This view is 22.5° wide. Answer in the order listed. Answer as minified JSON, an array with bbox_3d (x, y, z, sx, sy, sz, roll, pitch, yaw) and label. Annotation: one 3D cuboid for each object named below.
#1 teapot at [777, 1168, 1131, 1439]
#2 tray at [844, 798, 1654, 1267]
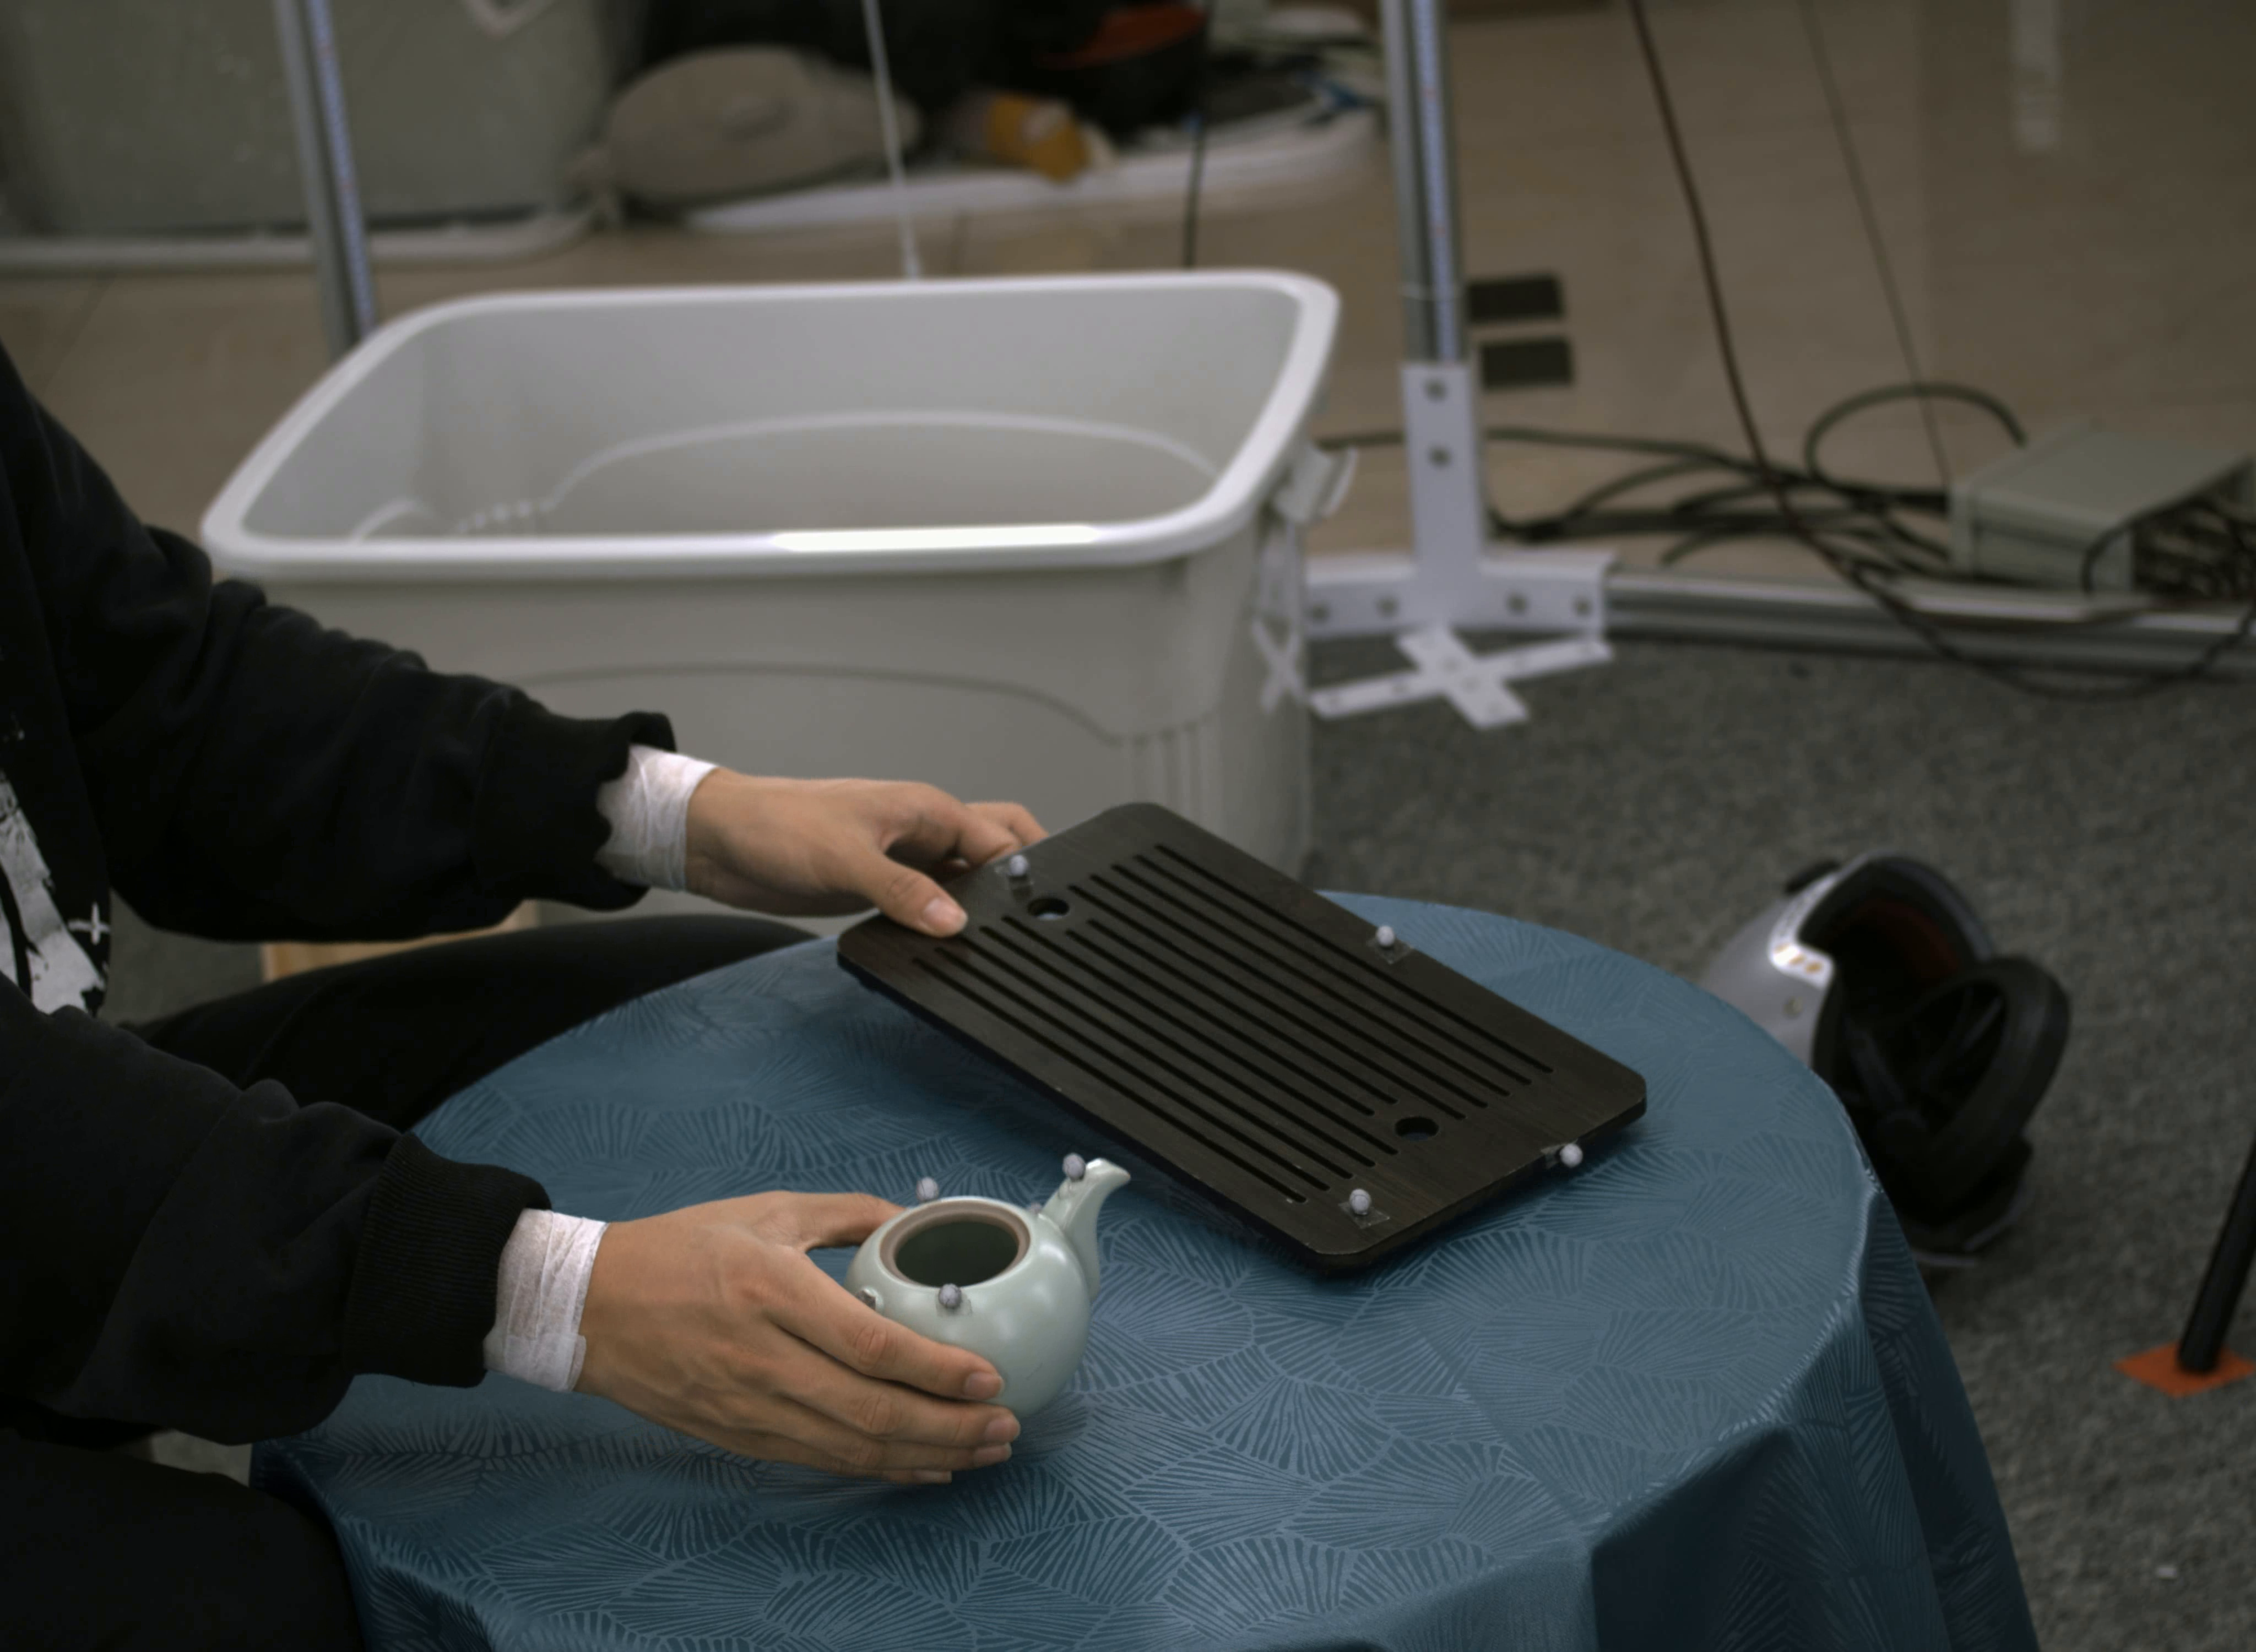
[{"bbox_3d":[-0.058,0.172,1.981,0.143,0.076,0.087,-19,33,-26],"label":"teapot"},{"bbox_3d":[0.043,0.077,2.206,0.169,0.019,0.302,-26,38,-32],"label":"tray"}]
